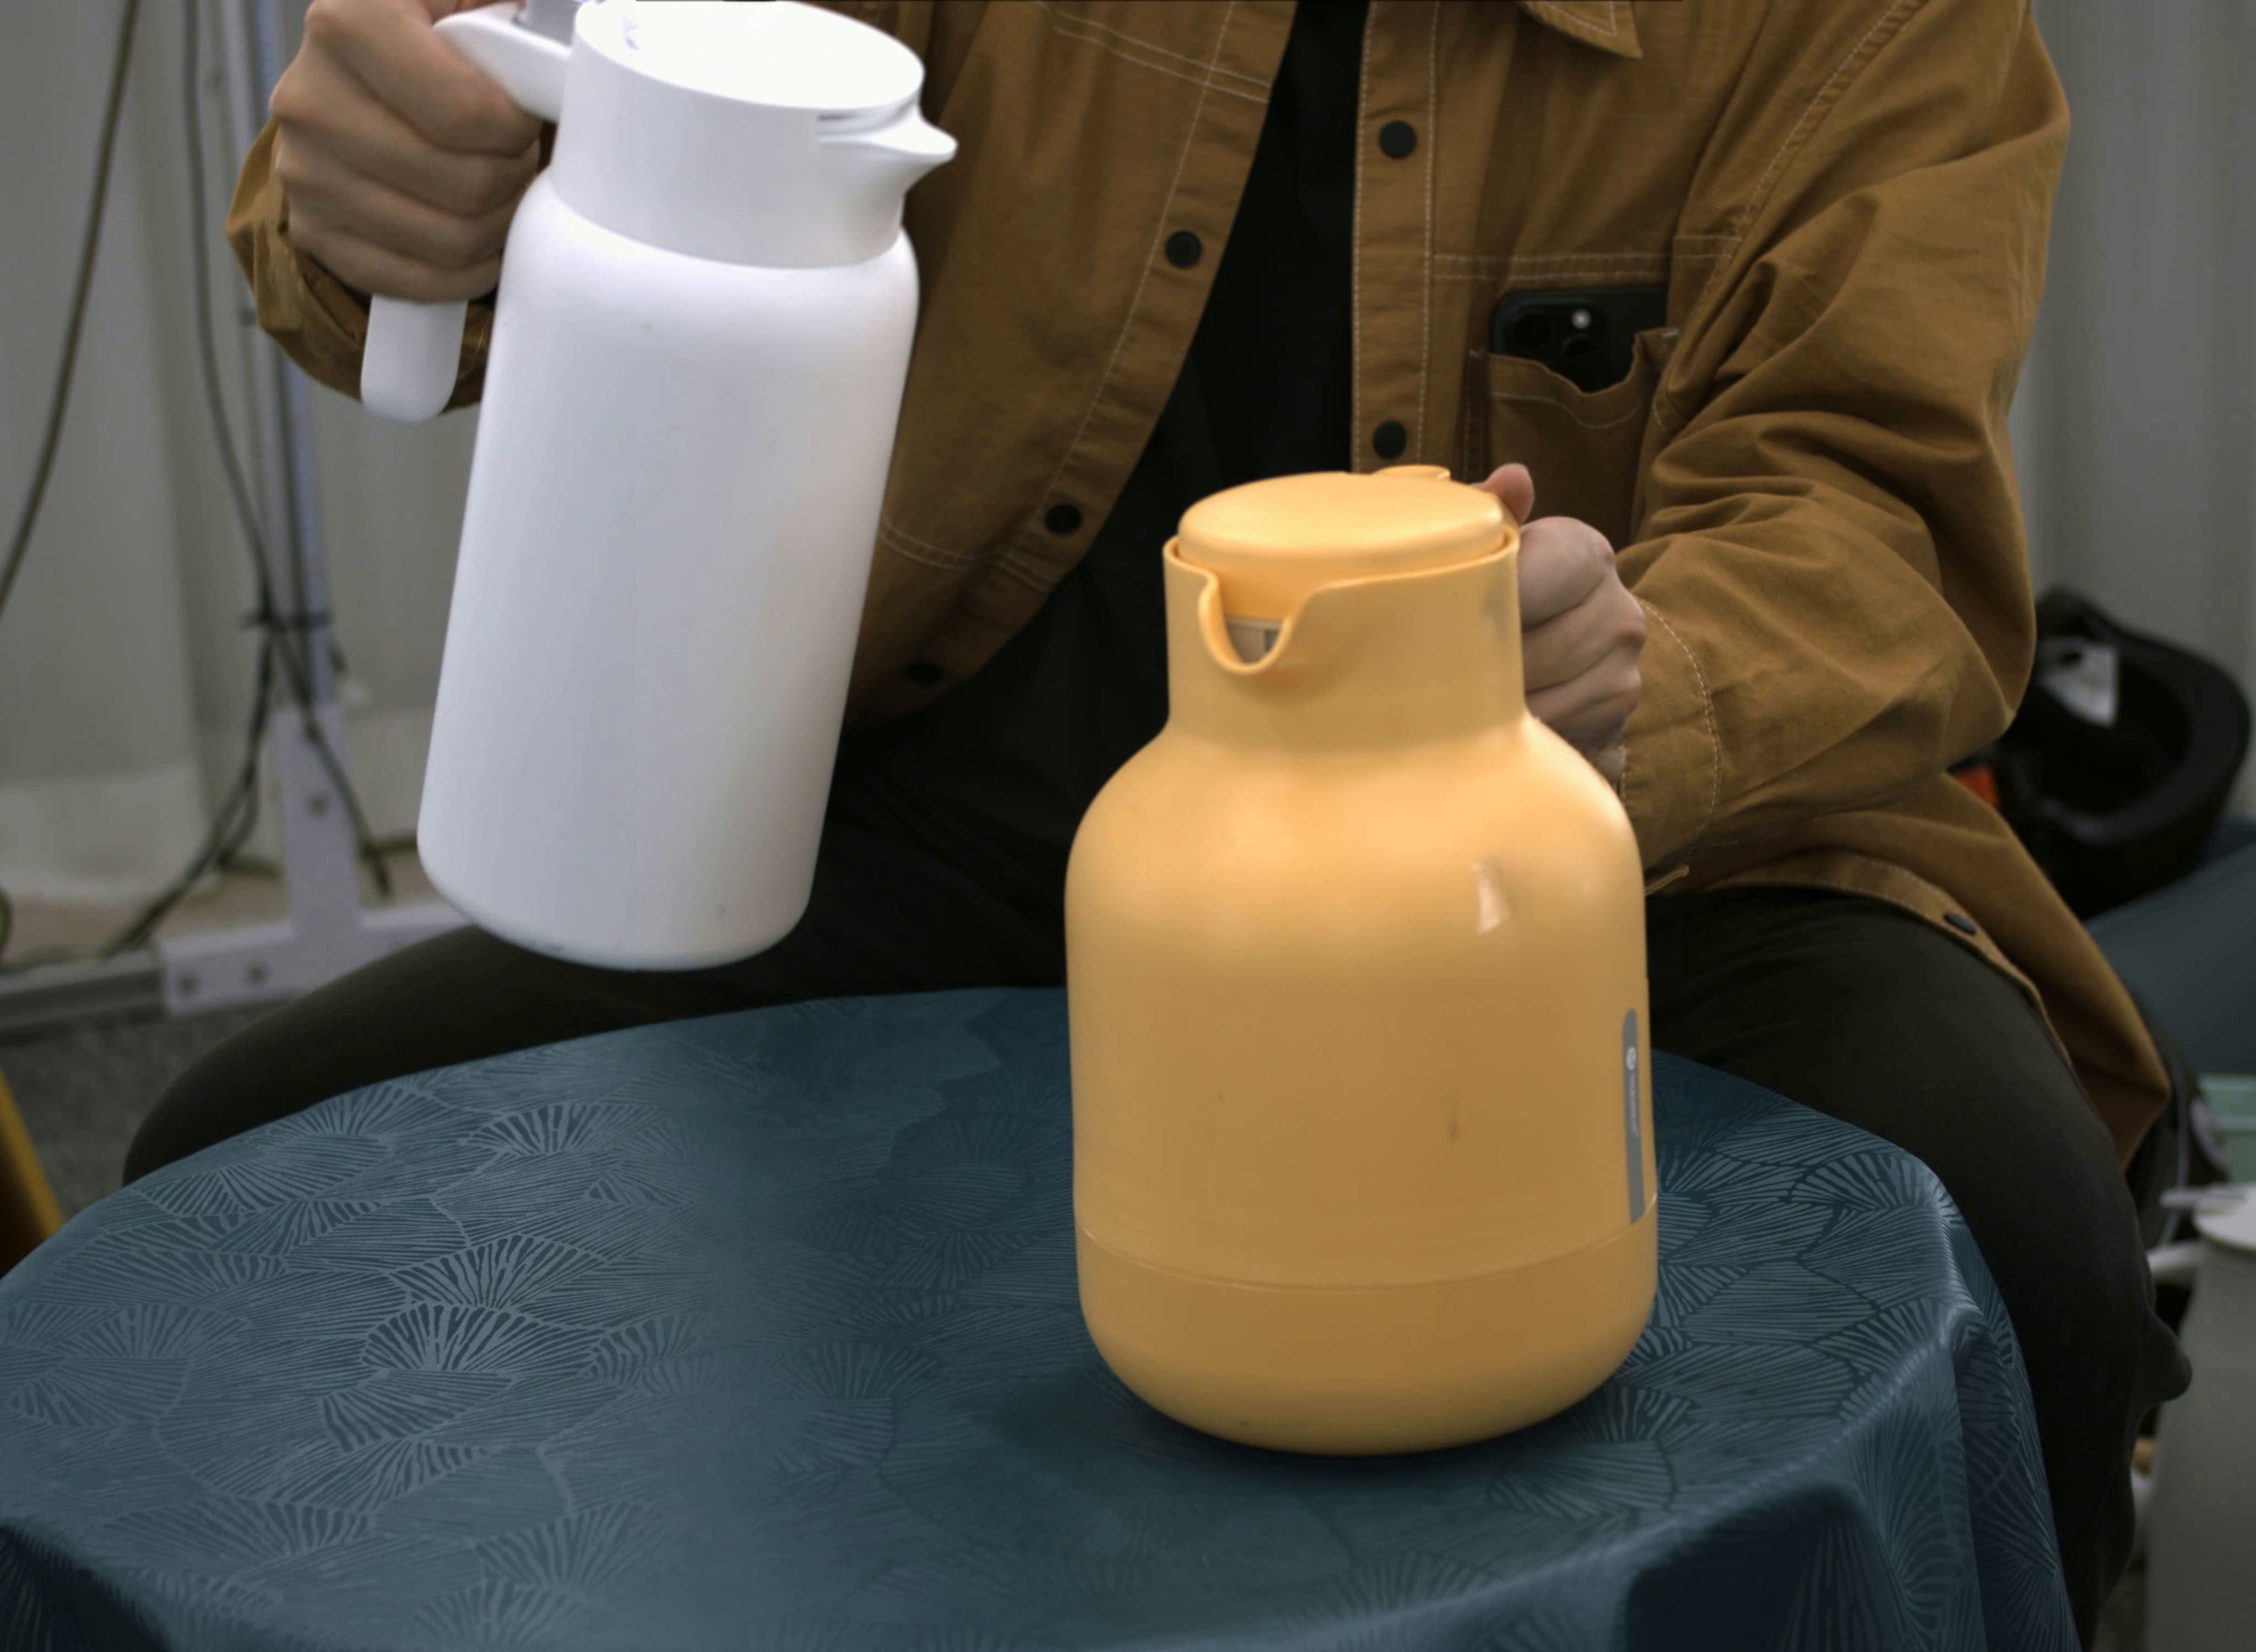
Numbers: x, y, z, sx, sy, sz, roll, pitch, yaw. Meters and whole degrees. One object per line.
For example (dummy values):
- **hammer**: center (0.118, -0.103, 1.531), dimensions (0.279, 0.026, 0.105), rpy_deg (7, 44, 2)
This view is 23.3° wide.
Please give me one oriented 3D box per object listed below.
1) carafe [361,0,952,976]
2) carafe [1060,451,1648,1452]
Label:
- **carafe**: center (-0.145, -0.104, 1.571), dimensions (0.173, 0.267, 0.124), rpy_deg (22, 27, 24)
- **carafe**: center (0.071, 0.026, 1.524), dimensions (0.164, 0.259, 0.203), rpy_deg (7, 18, 25)
